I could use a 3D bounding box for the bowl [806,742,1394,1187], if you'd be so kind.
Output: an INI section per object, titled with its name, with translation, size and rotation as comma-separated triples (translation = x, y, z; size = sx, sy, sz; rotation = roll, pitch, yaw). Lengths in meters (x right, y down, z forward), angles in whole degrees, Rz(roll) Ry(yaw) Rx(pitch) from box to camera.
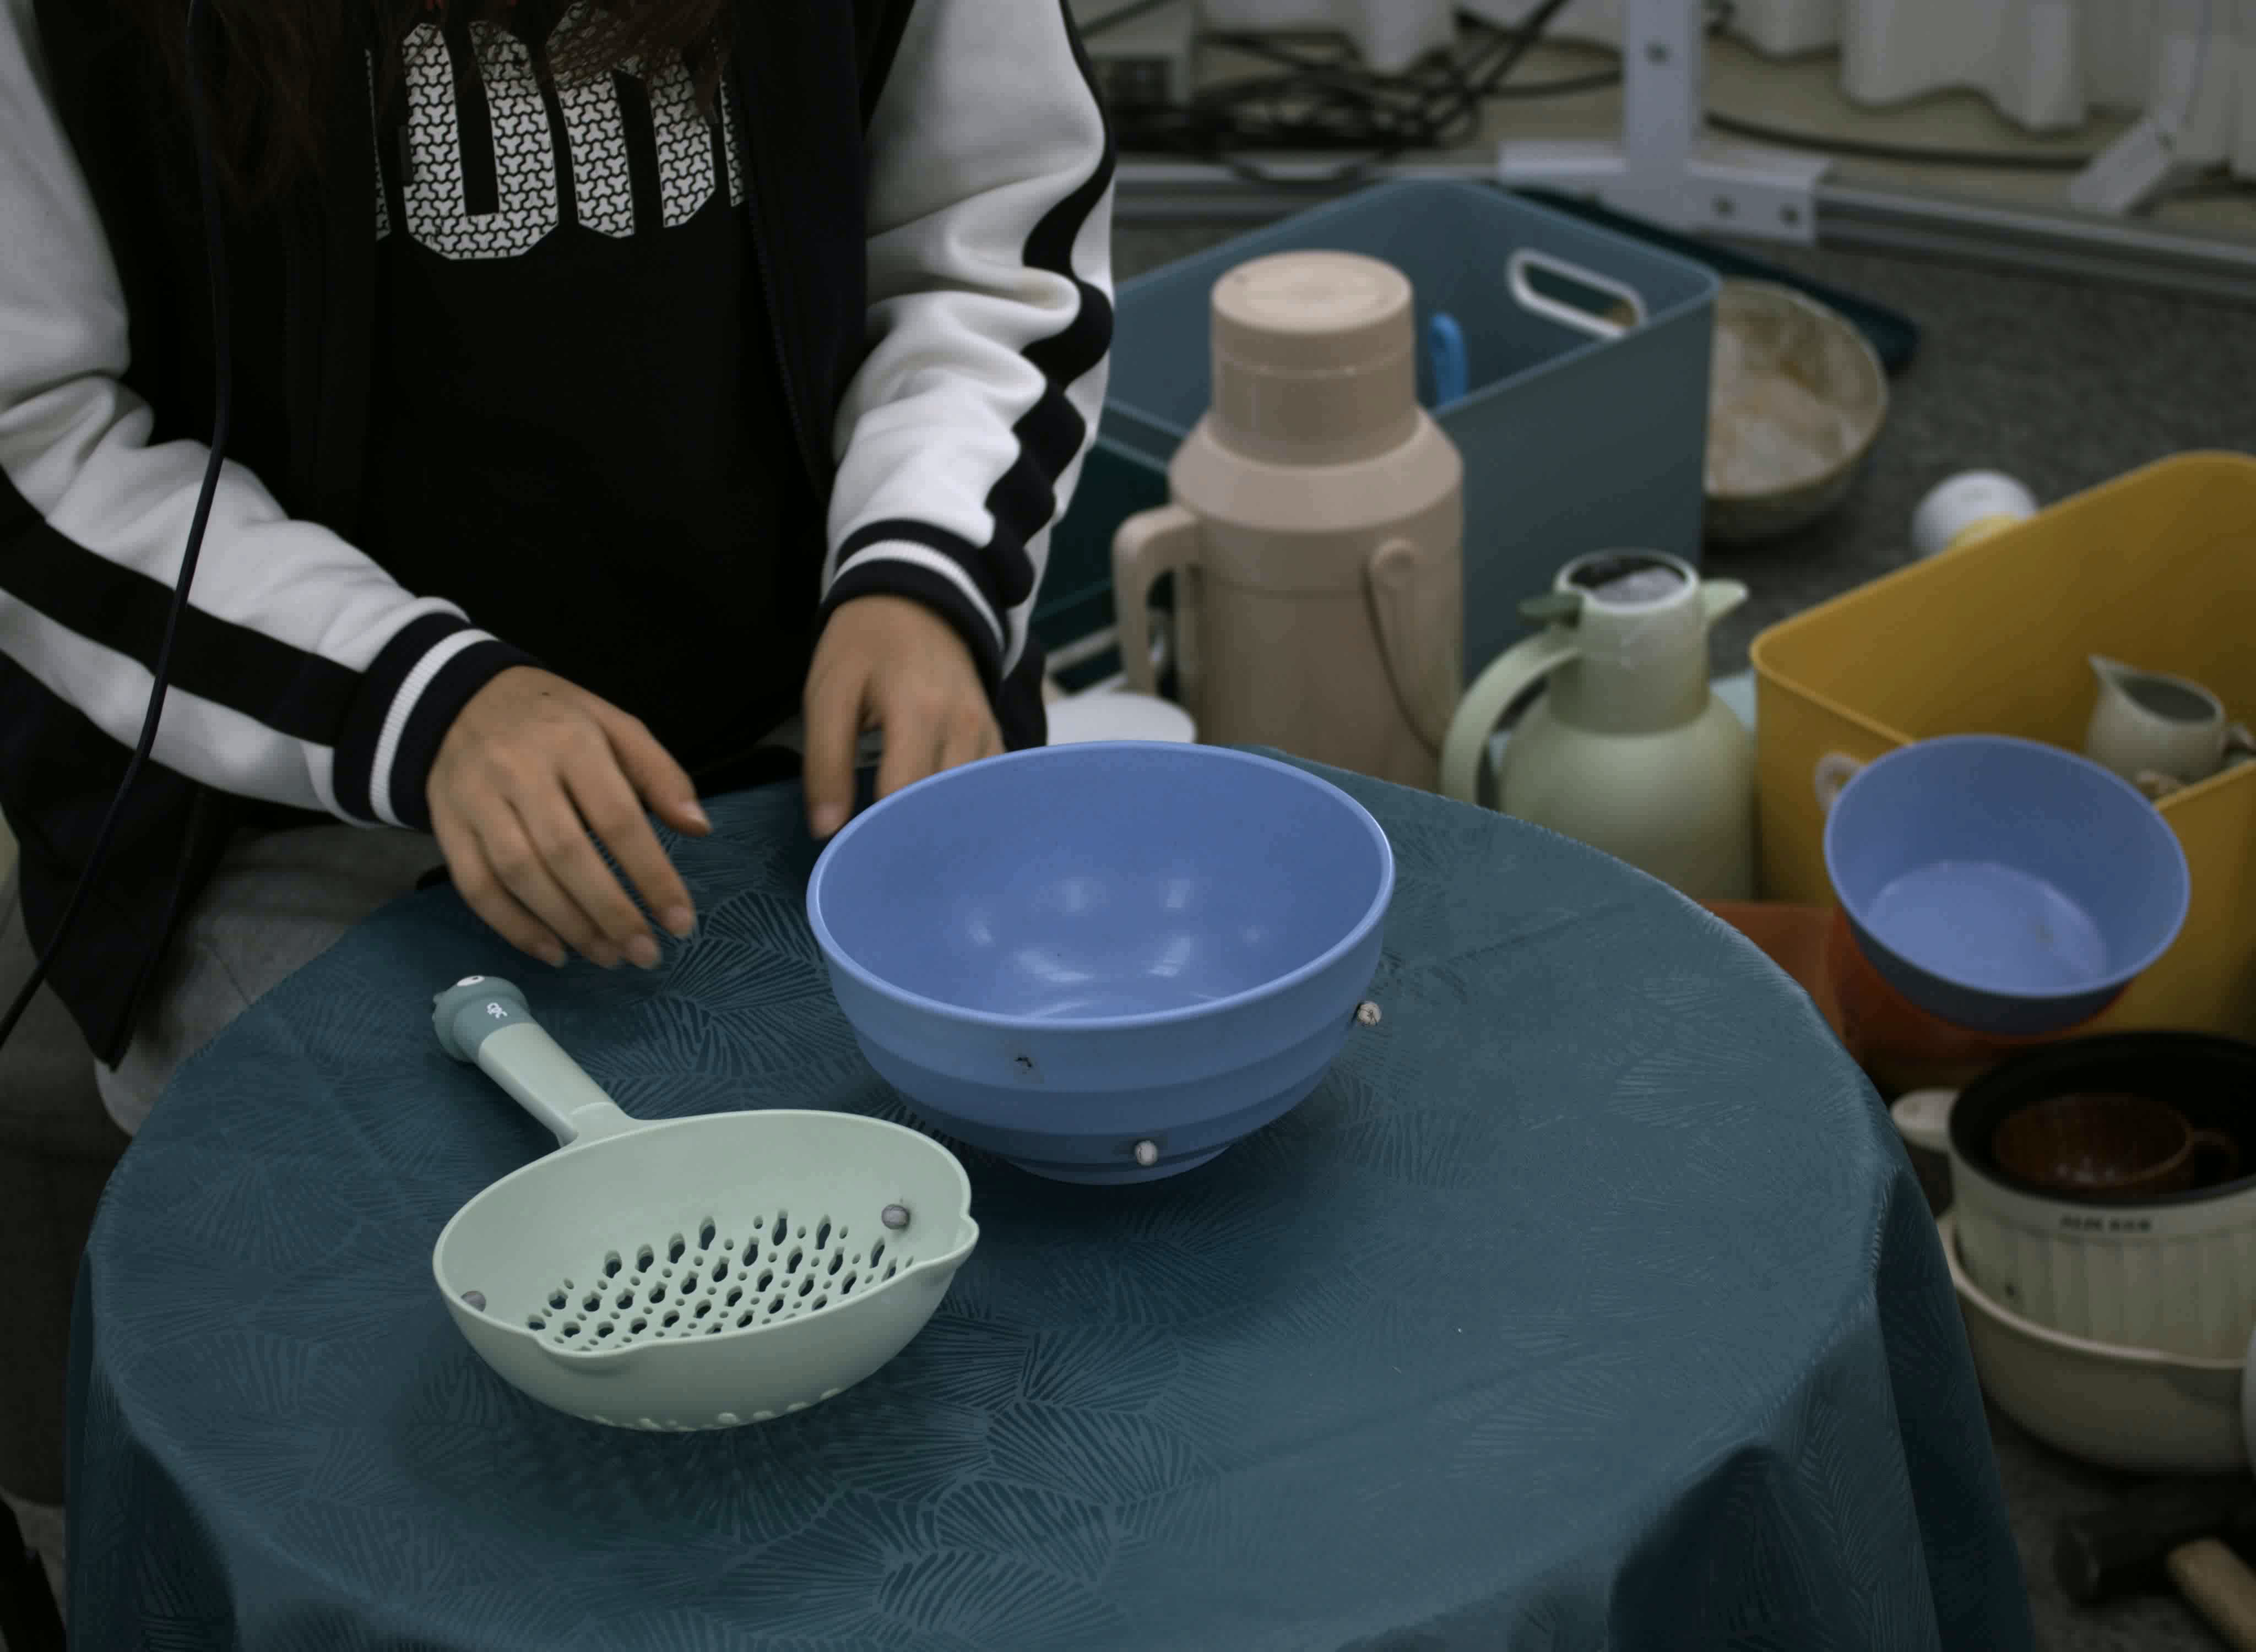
[bowl]
translation = -0.007, 0.057, 1.884
size = 0.195, 0.094, 0.199
rotation = -3, 27, 2

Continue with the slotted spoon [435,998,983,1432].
[slotted spoon]
translation = -0.169, 0.111, 1.838
size = 0.170, 0.074, 0.361
rotation = -13, 27, -20
